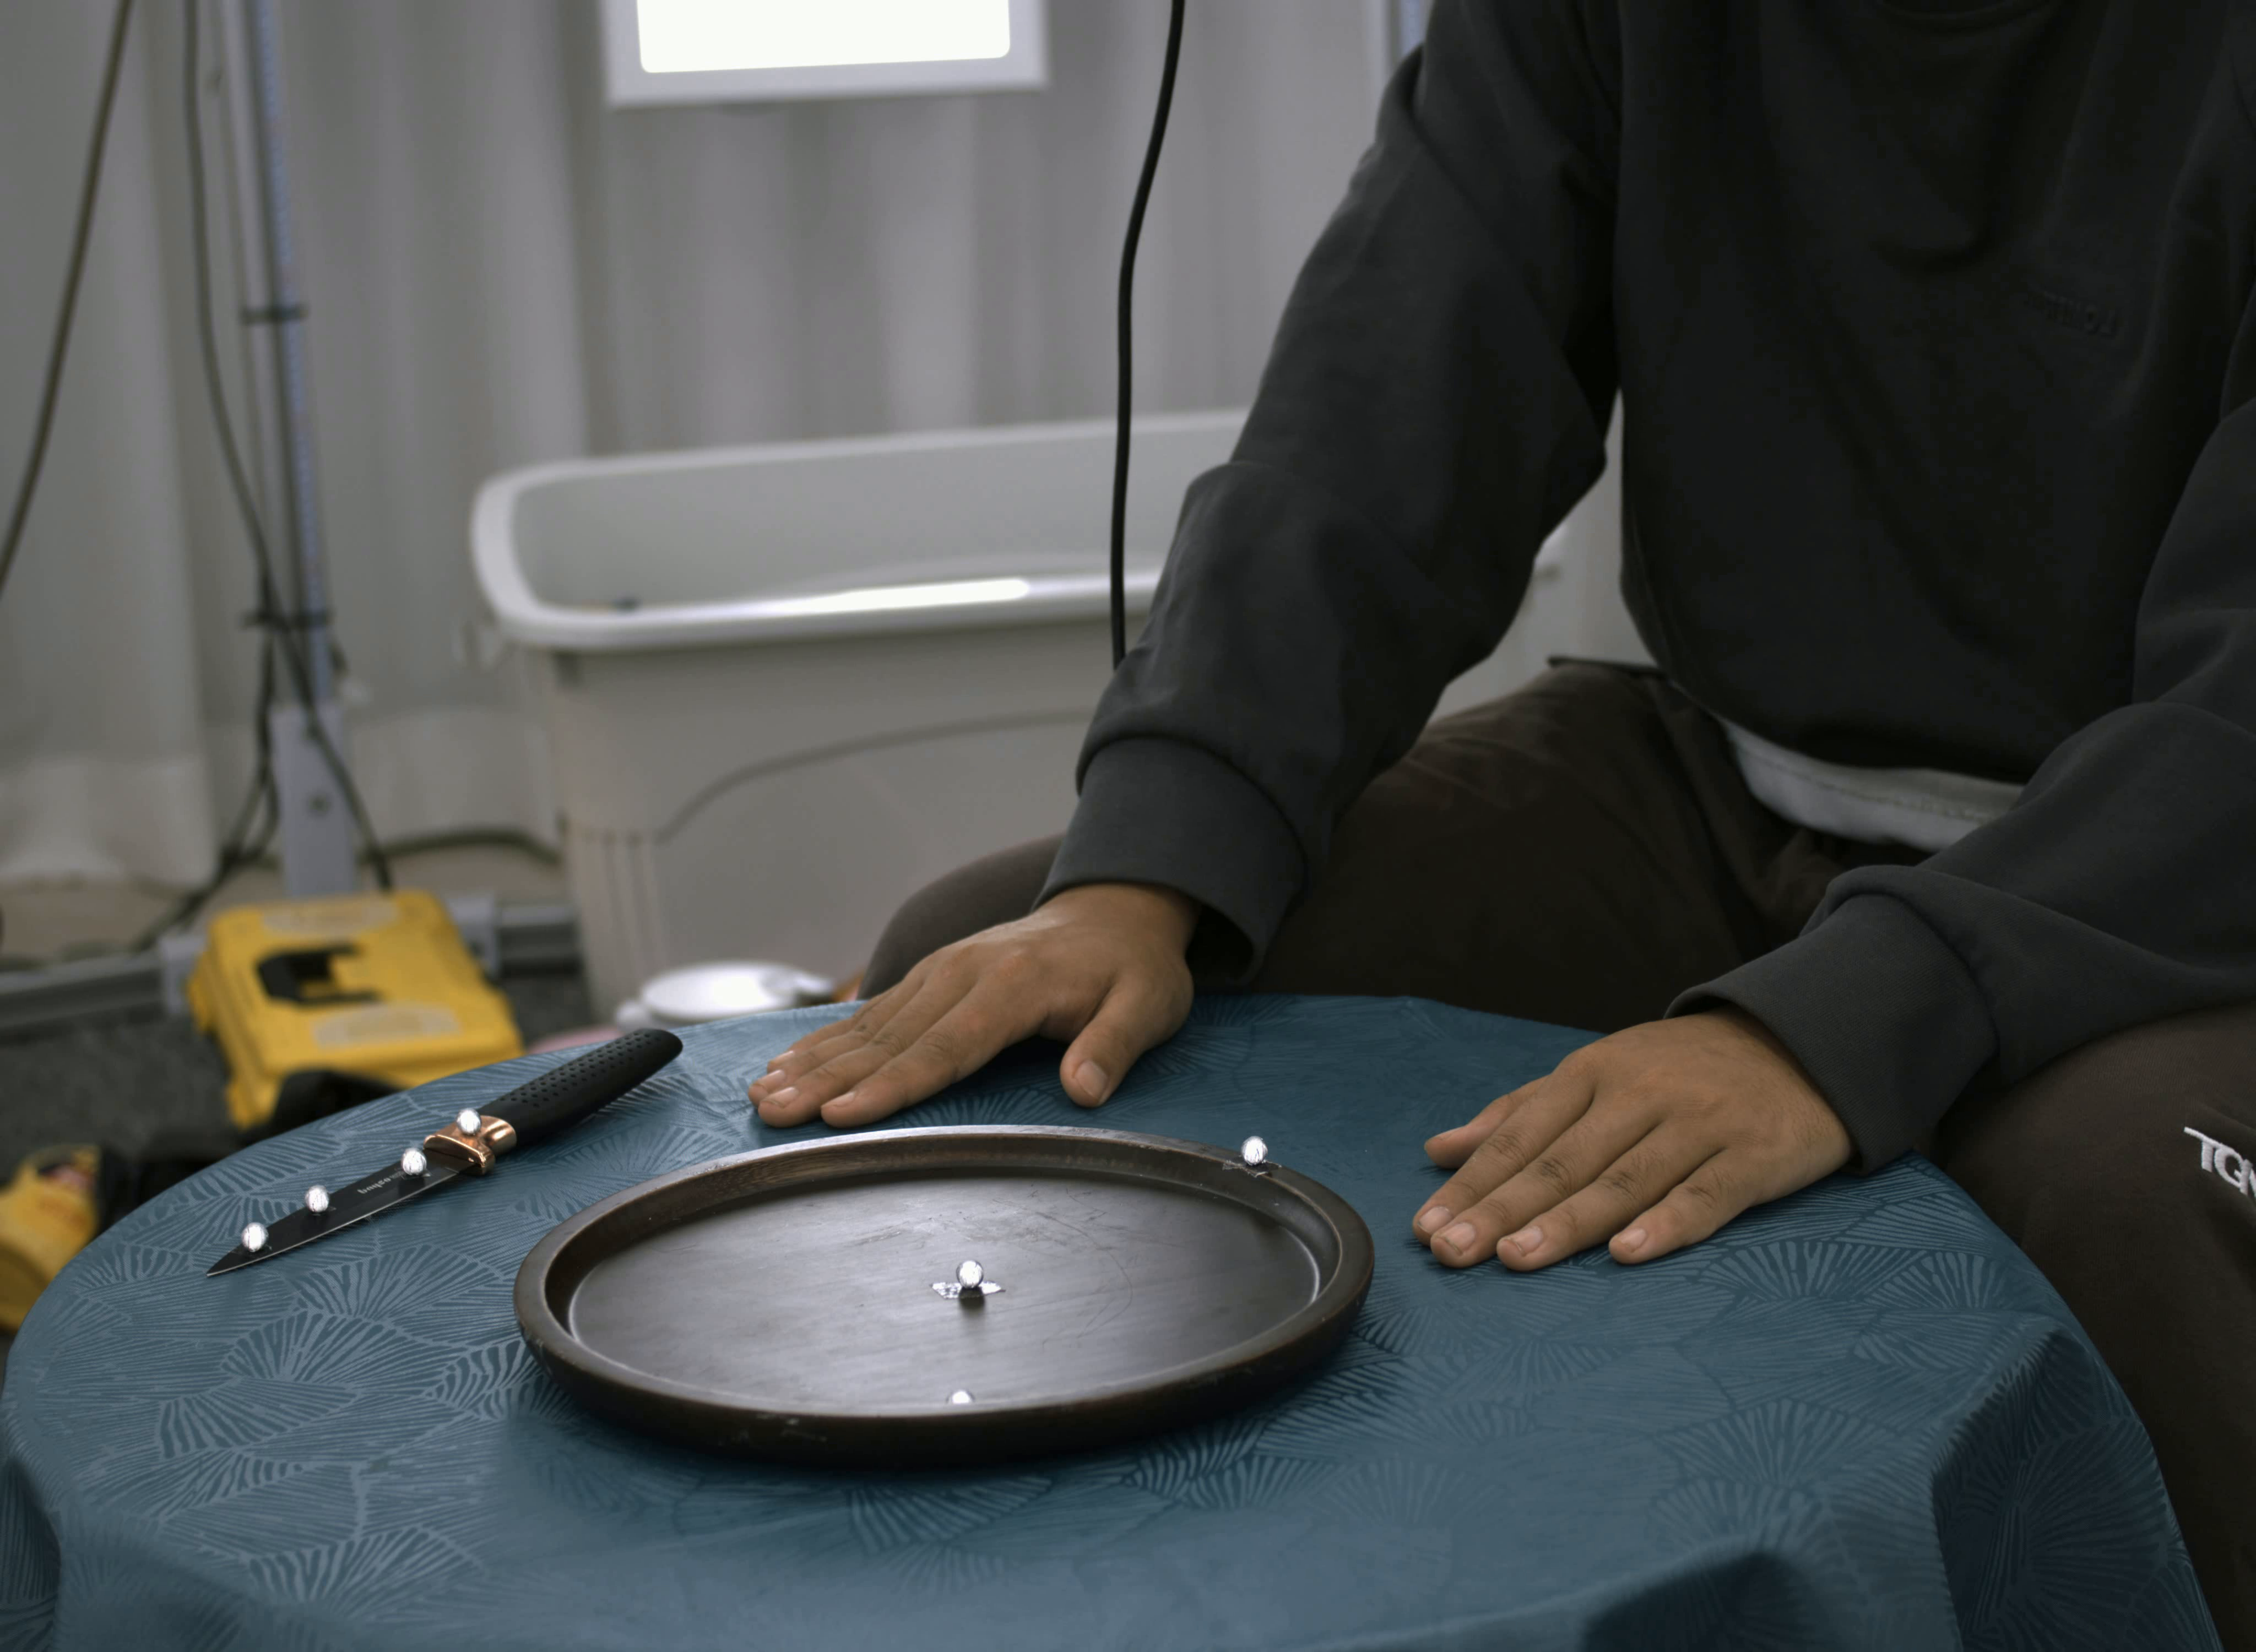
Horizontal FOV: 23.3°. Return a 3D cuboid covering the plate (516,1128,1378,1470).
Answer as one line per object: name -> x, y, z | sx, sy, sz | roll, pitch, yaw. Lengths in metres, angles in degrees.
plate -> -0.052, 0.136, 1.601 | 0.254, 0.029, 0.256 | -2, 13, 0

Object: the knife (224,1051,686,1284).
knife -> -0.215, 0.109, 1.756 | 0.026, 0.017, 0.225 | 13, 22, 32
